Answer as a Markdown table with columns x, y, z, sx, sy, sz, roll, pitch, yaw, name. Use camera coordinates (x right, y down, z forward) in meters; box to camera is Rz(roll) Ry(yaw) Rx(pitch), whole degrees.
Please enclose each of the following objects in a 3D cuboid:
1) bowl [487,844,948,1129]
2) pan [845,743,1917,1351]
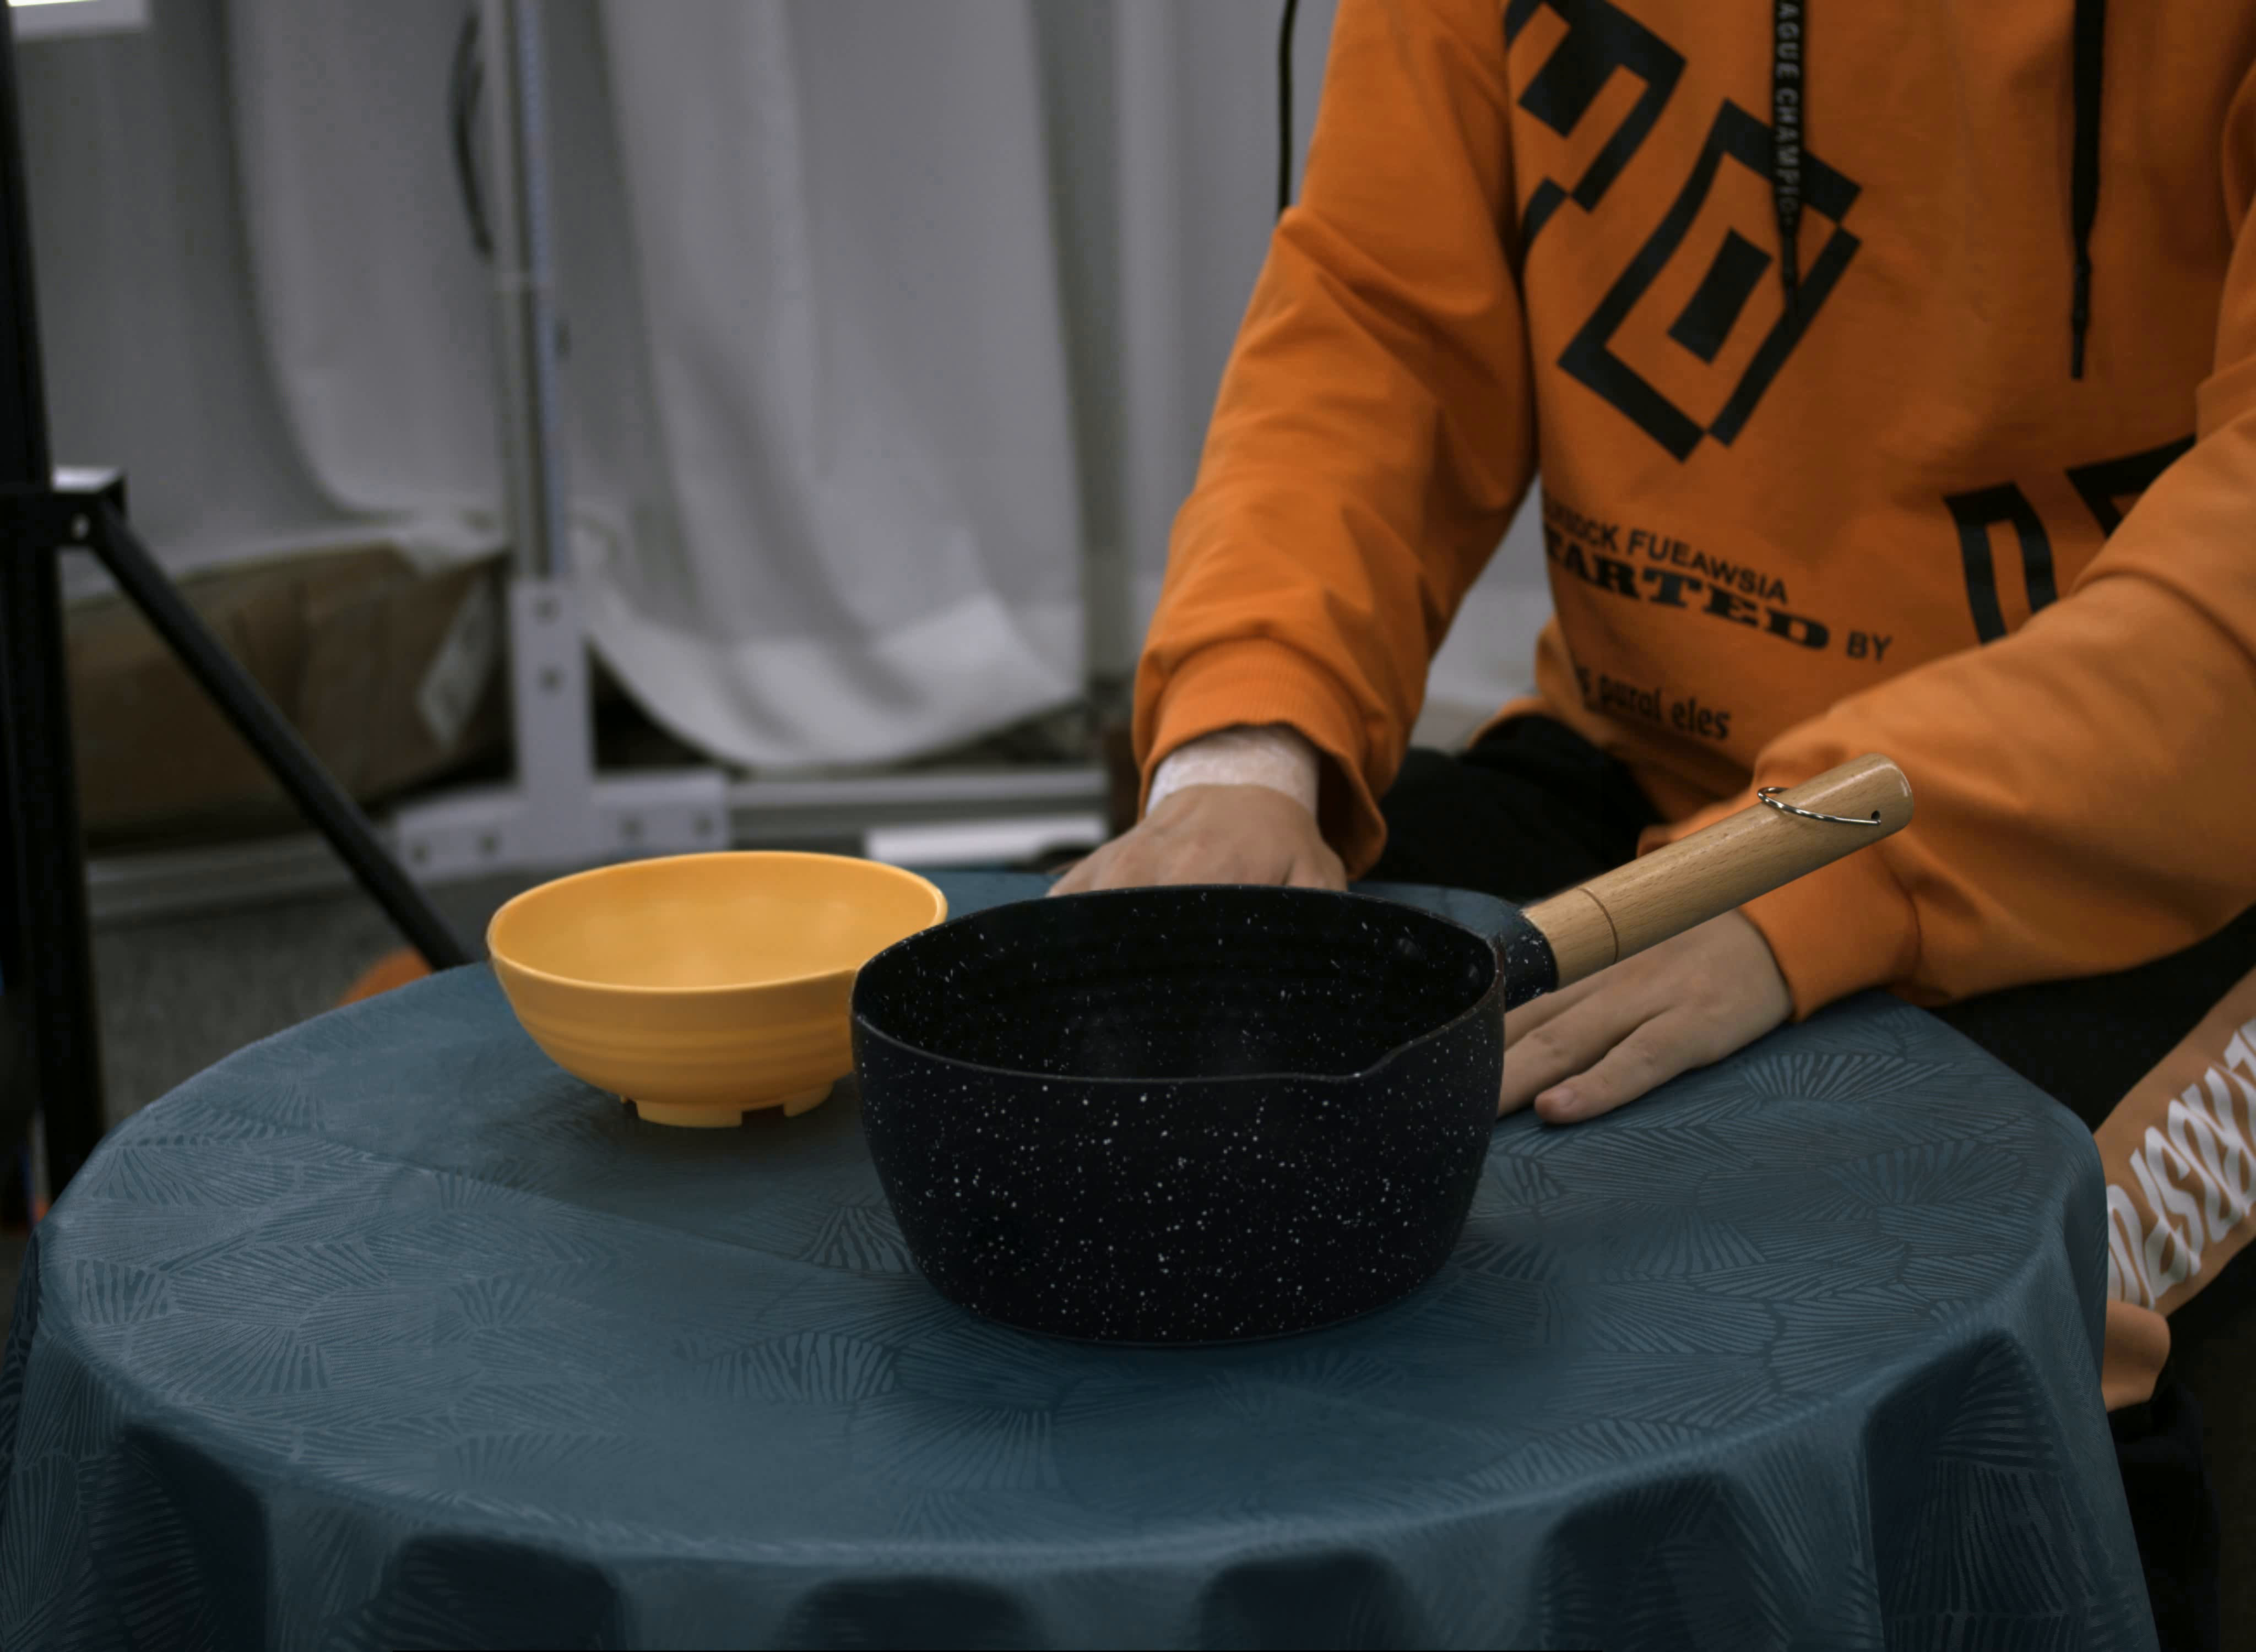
| x | y | z | sx | sy | sz | roll | pitch | yaw | name |
| --- | --- | --- | --- | --- | --- | --- | --- | --- | --- |
| -0.126 | 0.055 | 1.659 | 0.144 | 0.060 | 0.146 | -2 | 17 | -1 | bowl |
| 0.084 | 0.058 | 1.523 | 0.336 | 0.108 | 0.212 | -12 | 17 | -26 | pan |
